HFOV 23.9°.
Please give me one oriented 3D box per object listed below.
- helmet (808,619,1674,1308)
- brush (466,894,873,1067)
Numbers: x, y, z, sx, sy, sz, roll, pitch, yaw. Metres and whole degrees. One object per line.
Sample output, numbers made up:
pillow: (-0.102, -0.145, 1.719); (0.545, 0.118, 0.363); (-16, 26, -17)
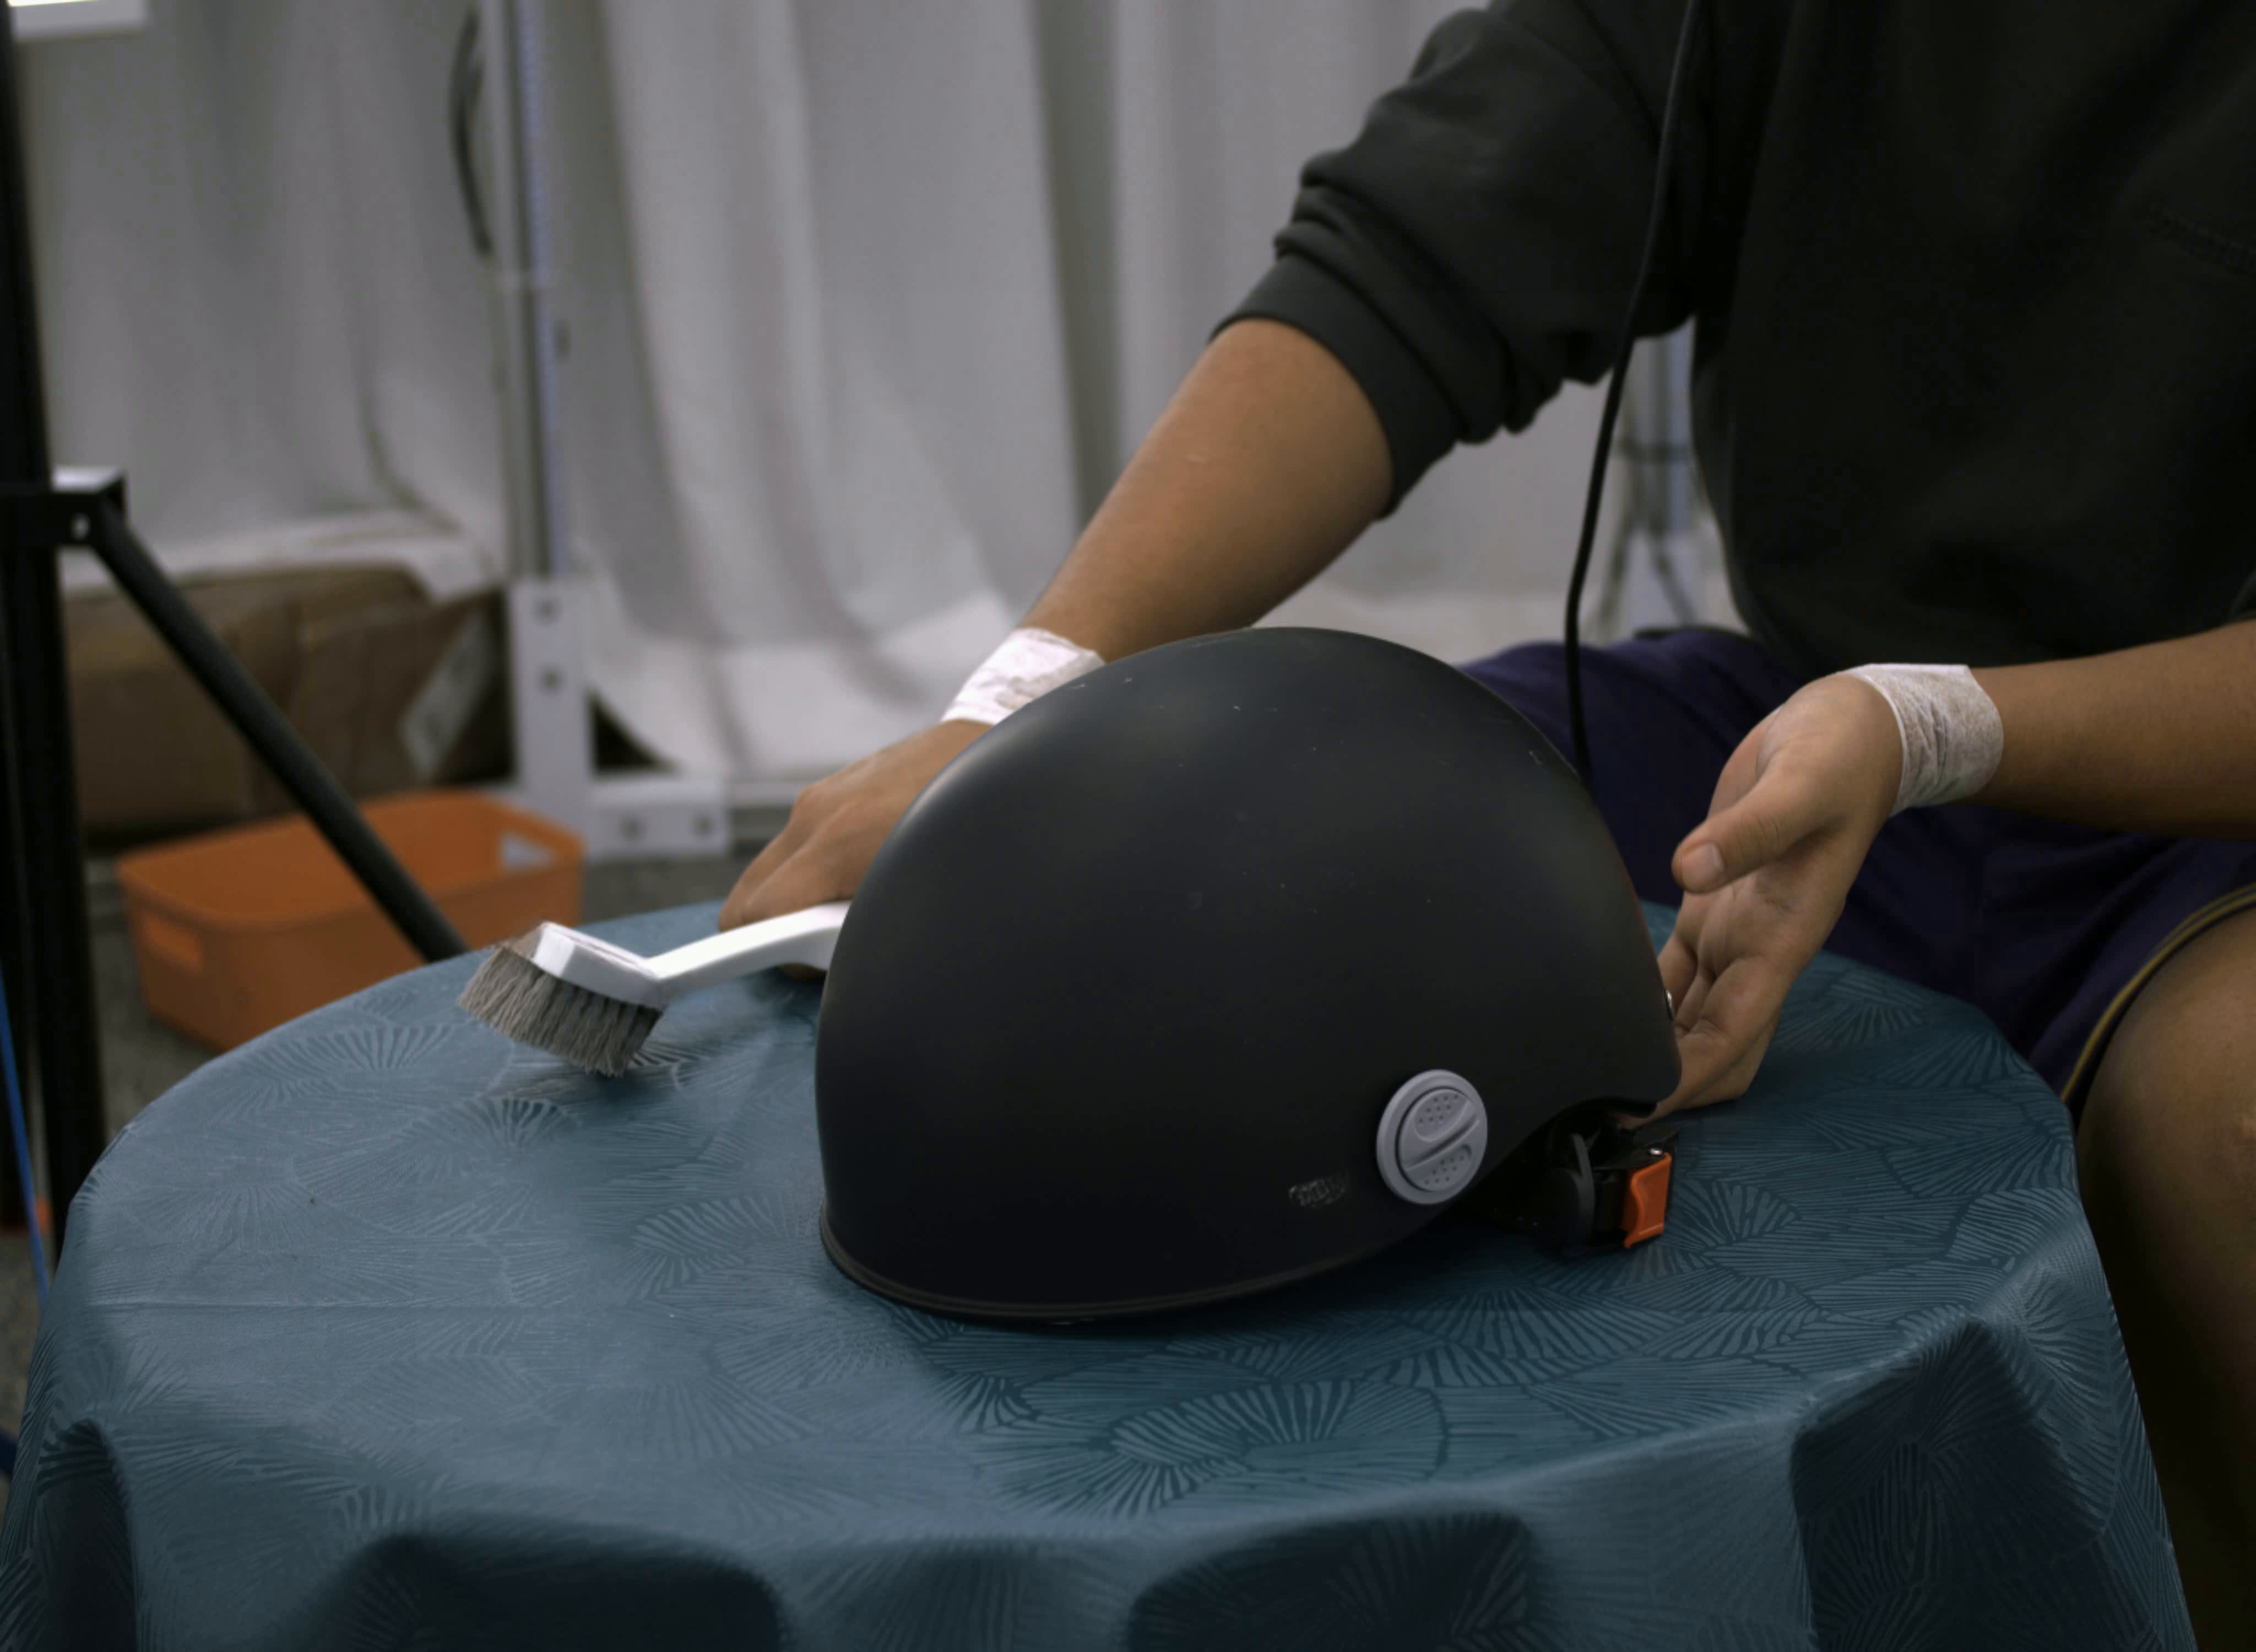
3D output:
helmet: (0.027, 0.029, 1.544); (0.267, 0.167, 0.235); (-18, 18, -40)
brush: (-0.120, 0.049, 1.747); (0.035, 0.050, 0.237); (27, 17, 36)
